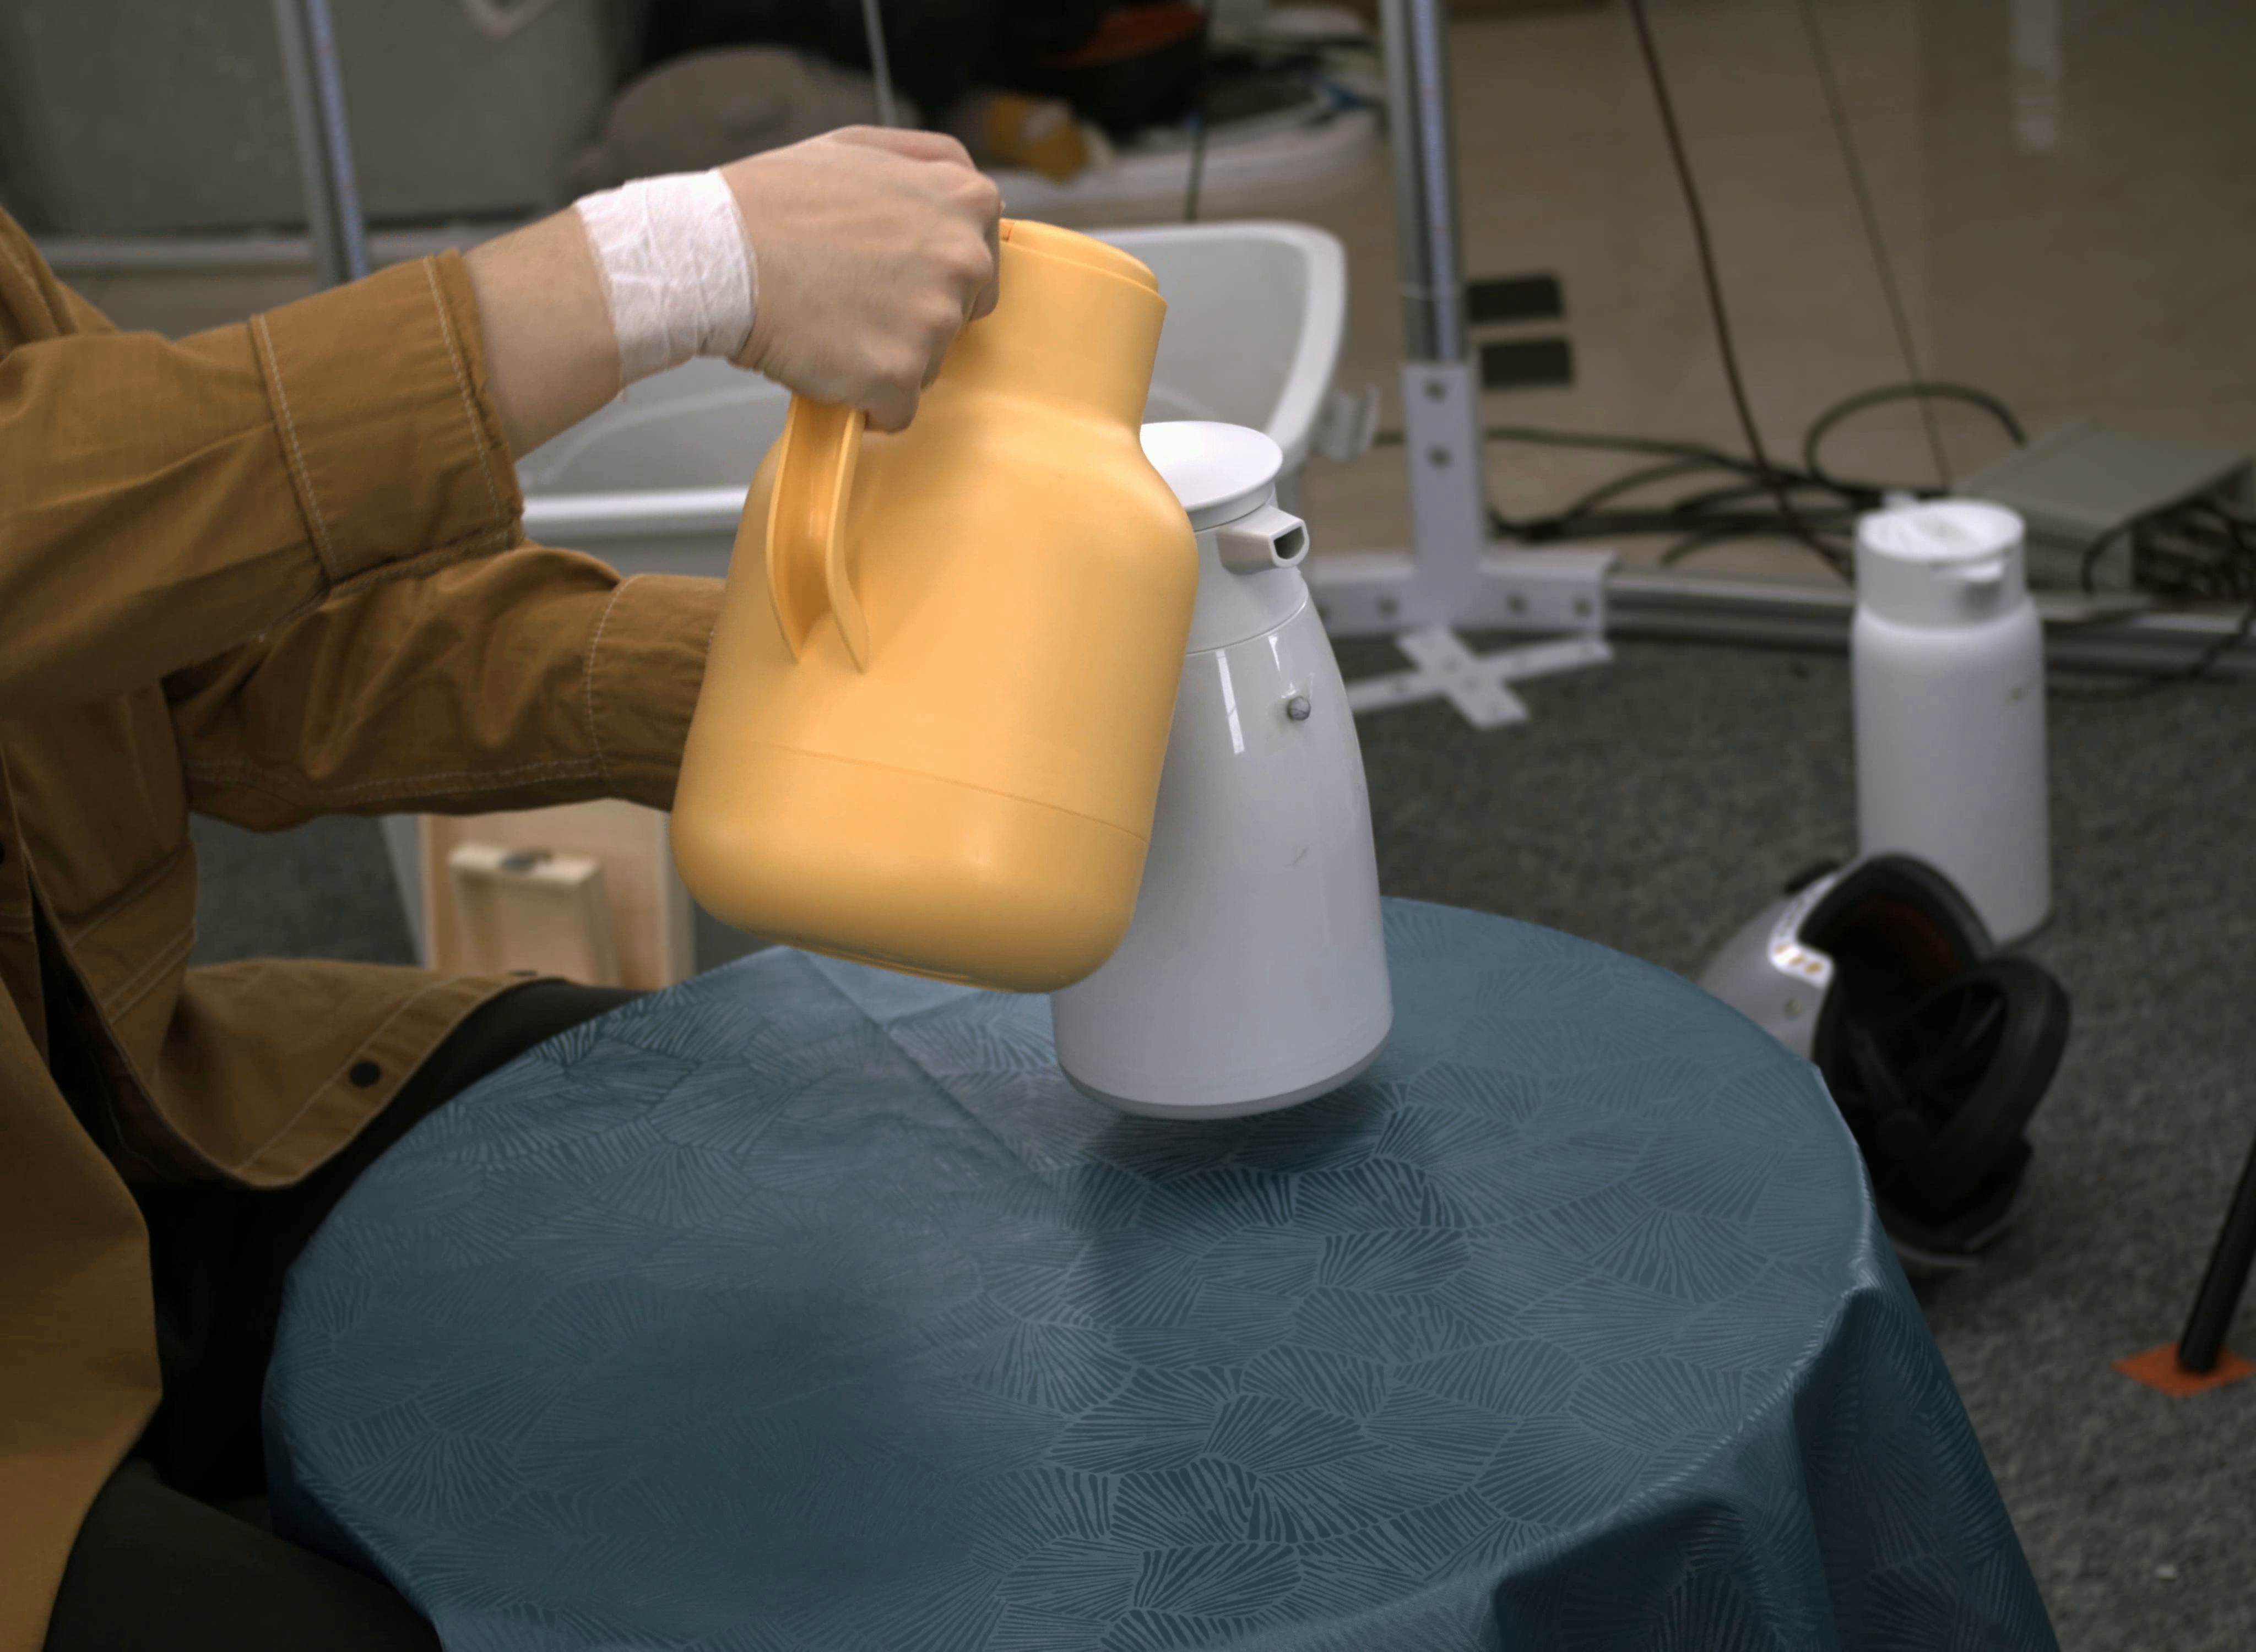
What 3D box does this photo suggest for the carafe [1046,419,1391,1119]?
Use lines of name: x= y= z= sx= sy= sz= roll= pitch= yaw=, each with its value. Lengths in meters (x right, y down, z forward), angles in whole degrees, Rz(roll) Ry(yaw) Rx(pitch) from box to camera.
carafe: x=0.009 y=-0.032 z=2.154 sx=0.166 sy=0.252 sz=0.131 roll=16 pitch=34 yaw=39

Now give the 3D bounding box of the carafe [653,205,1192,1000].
carafe: x=-0.070 y=-0.082 z=1.940 sx=0.162 sy=0.260 sz=0.203 roll=11 pitch=-6 yaw=28
